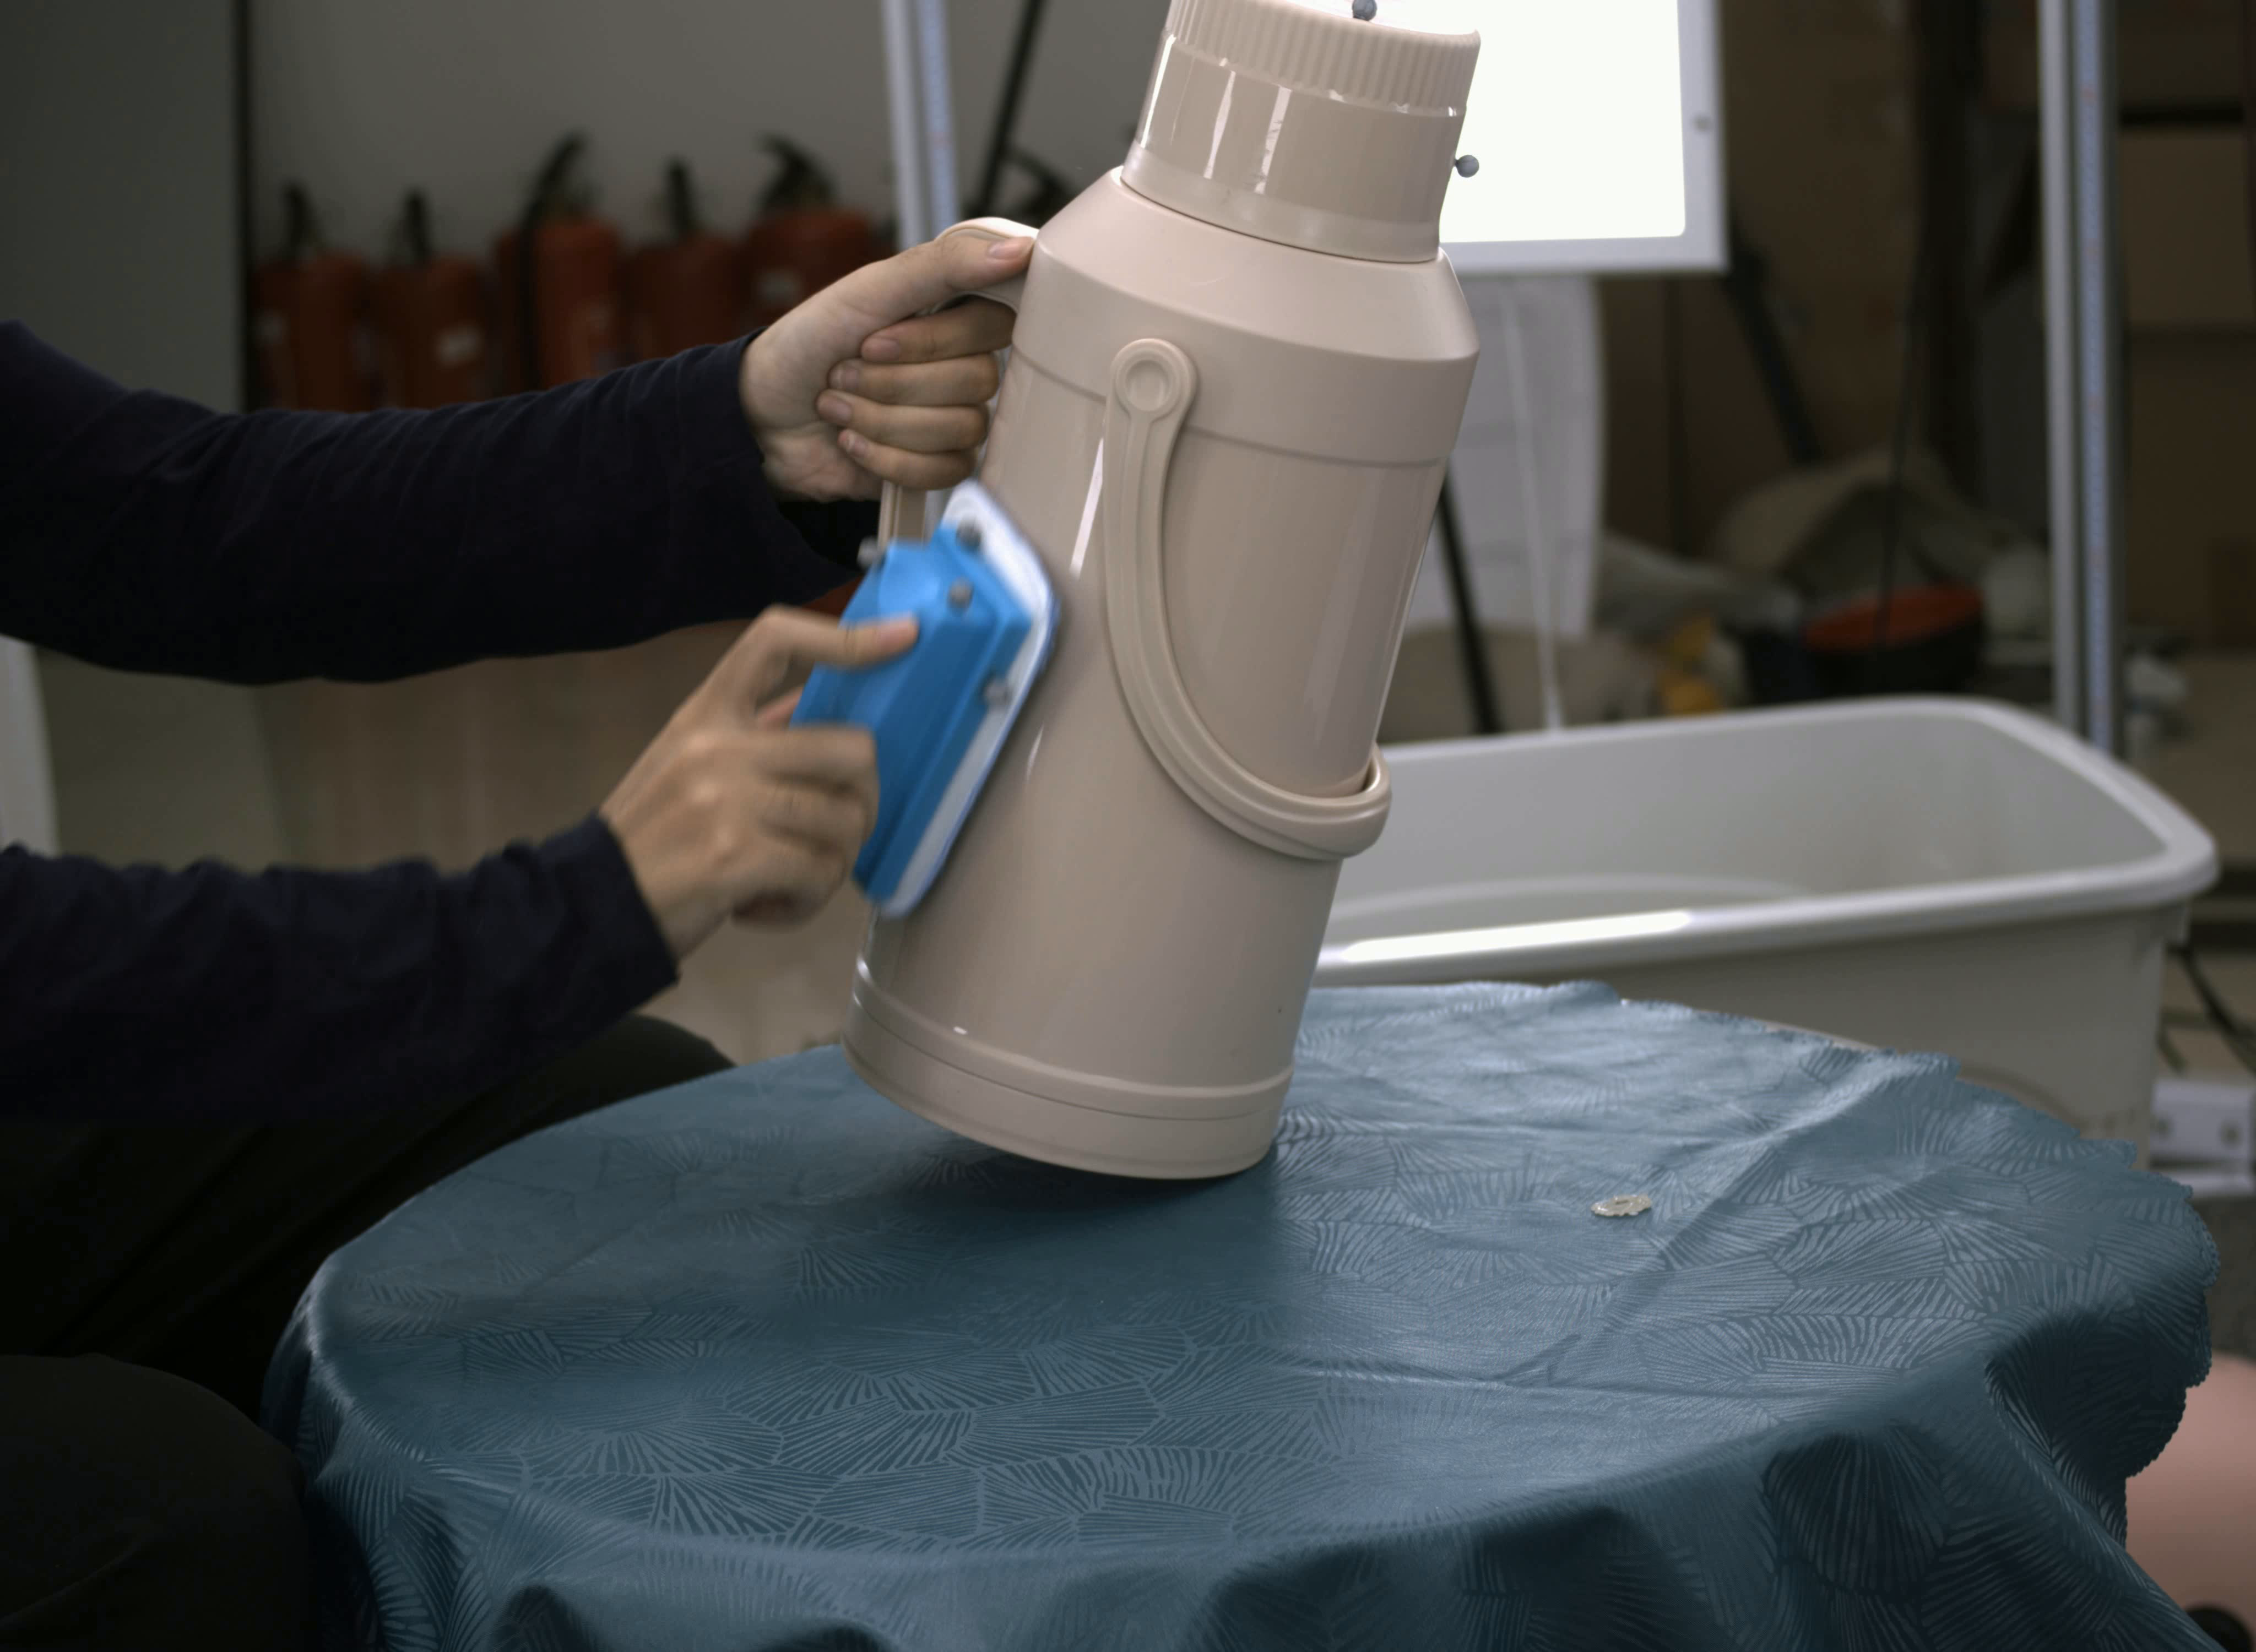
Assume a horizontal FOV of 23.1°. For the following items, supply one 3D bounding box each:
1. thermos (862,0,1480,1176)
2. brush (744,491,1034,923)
[{"bbox_3d":[0.011,-0.096,1.896,0.209,0.409,0.172,18,19,18],"label":"thermos"},{"bbox_3d":[-0.084,-0.042,1.855,0.054,0.146,0.084,9,35,-34],"label":"brush"}]
